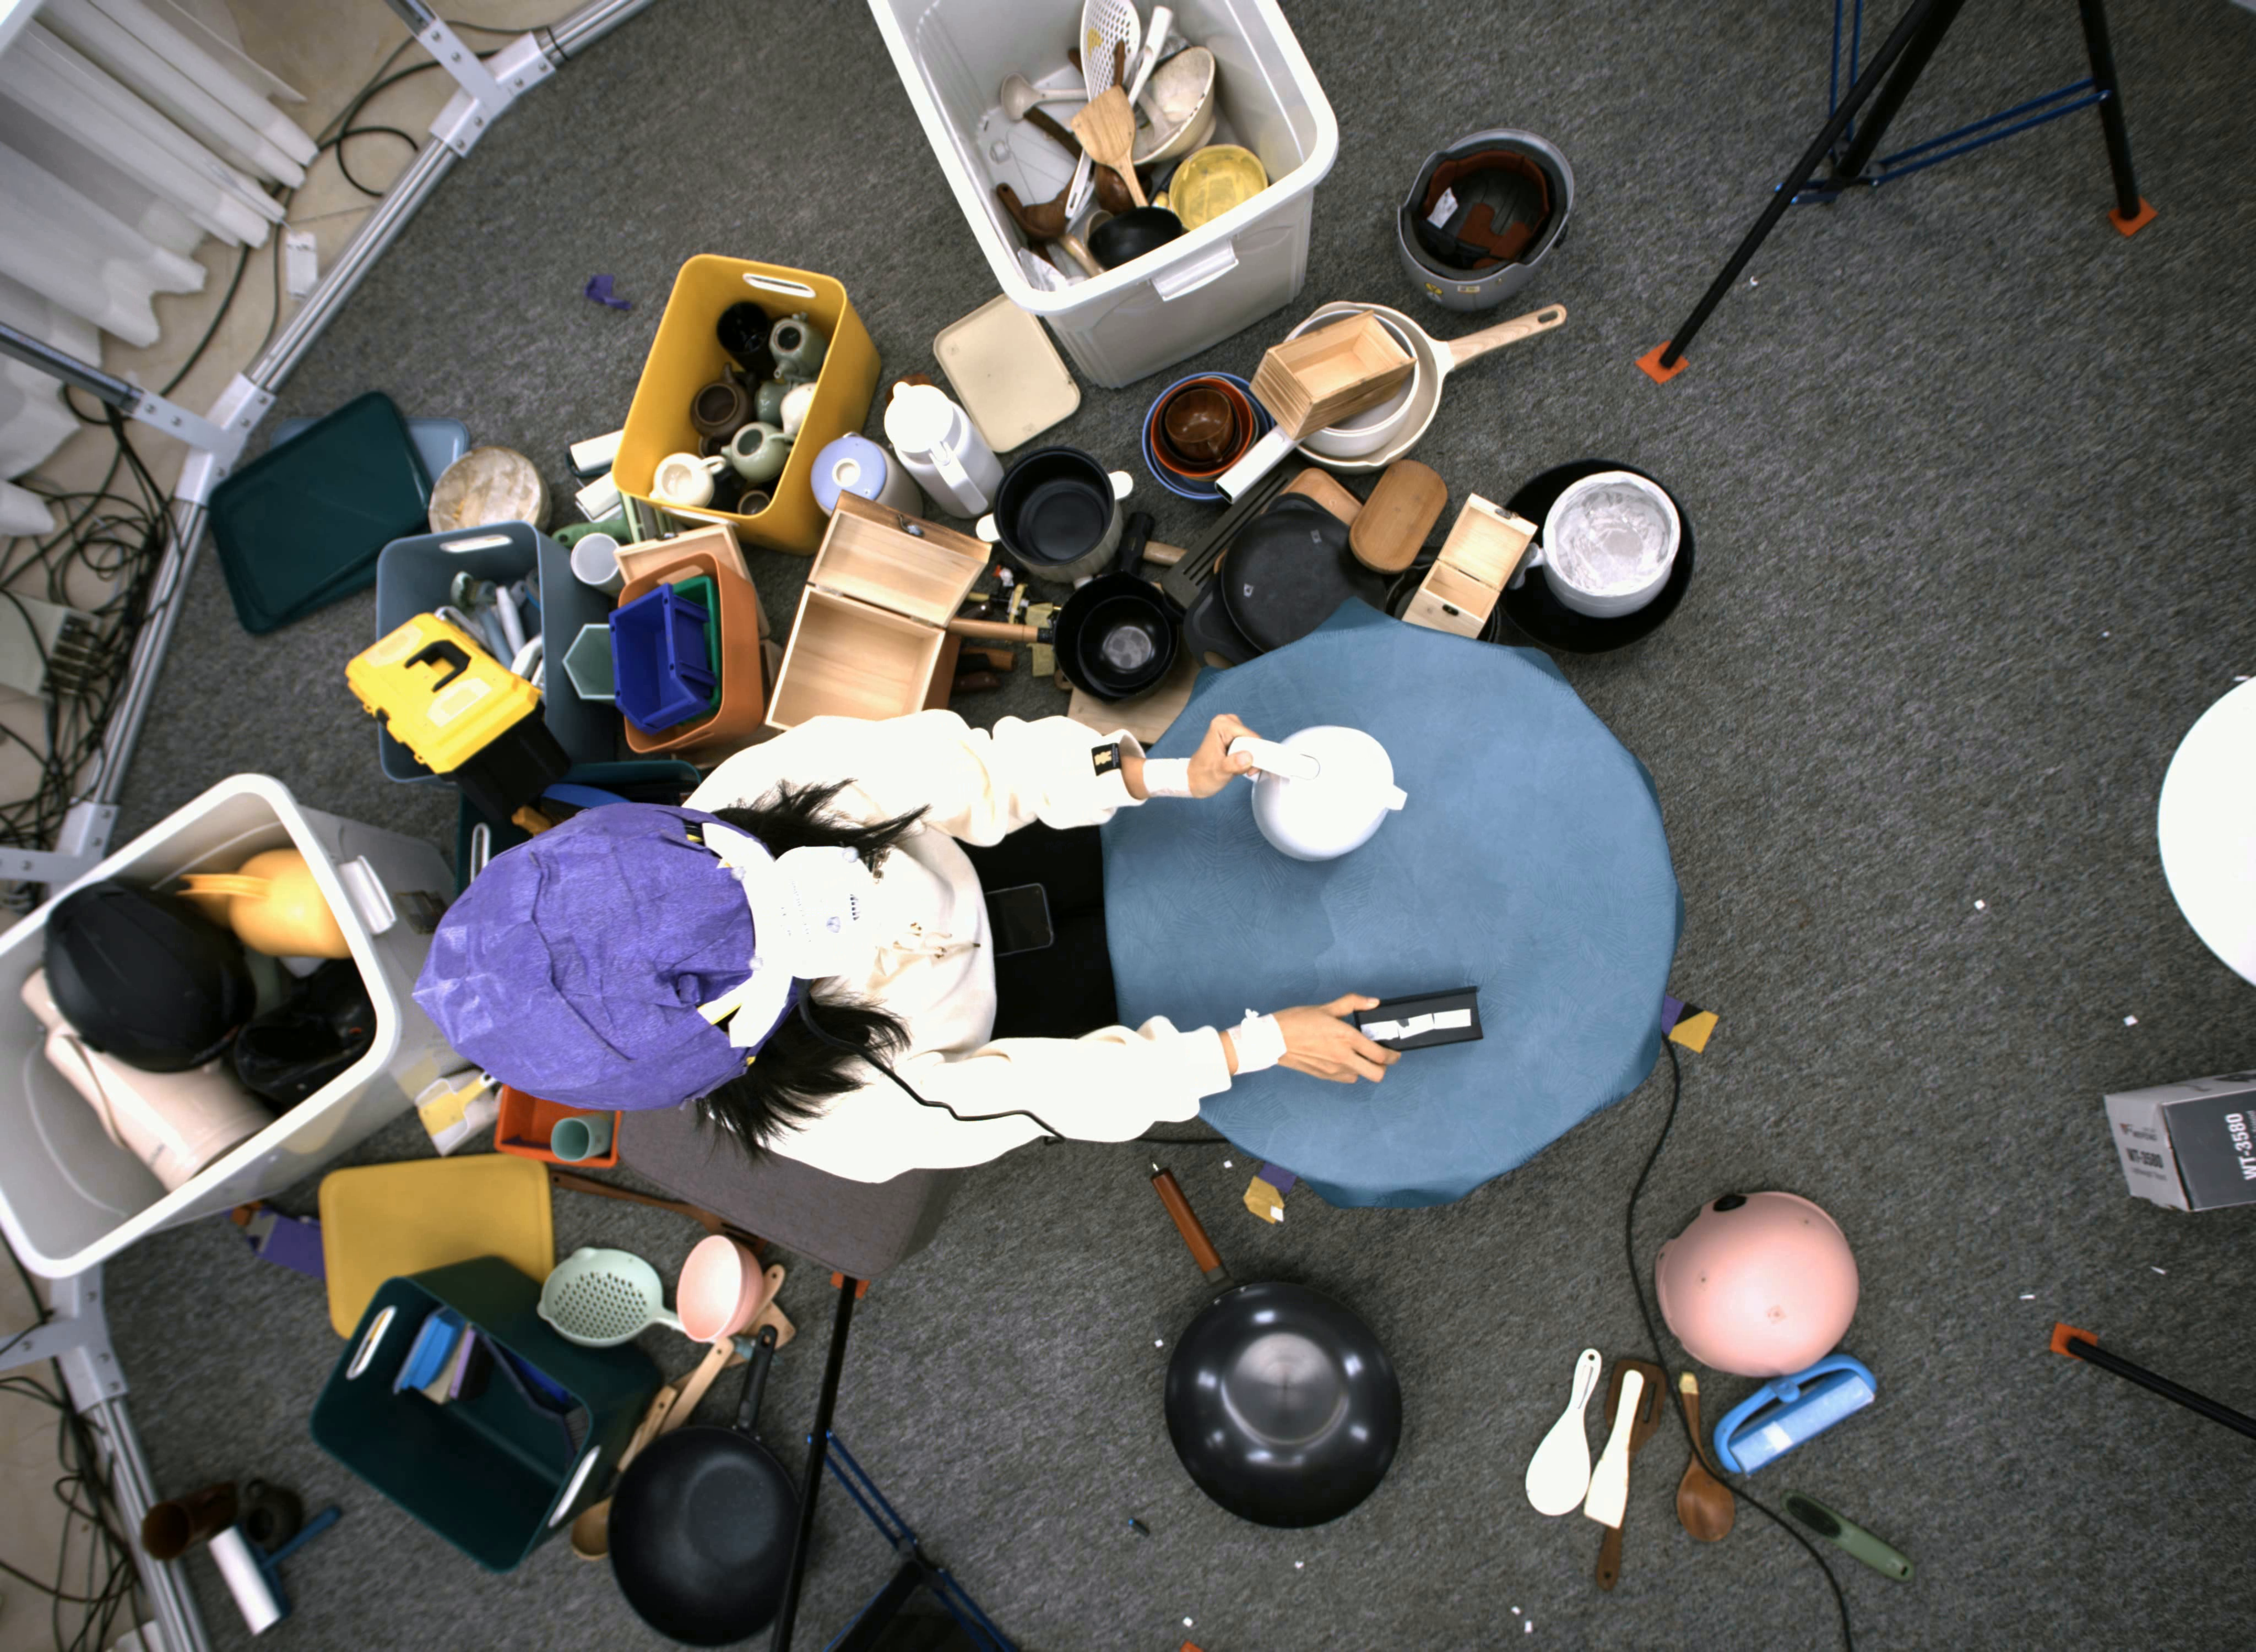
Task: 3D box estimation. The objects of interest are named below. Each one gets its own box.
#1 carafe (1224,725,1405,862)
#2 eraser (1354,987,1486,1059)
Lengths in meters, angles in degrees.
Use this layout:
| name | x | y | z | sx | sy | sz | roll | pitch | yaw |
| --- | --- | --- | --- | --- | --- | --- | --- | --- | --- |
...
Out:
| name | x | y | z | sx | sy | sz | roll | pitch | yaw |
| --- | --- | --- | --- | --- | --- | --- | --- | --- | --- |
| carafe | 0.173 | -0.042 | 1.340 | 0.168 | 0.249 | 0.132 | 19 | 88 | 3 |
| eraser | 0.294 | 0.196 | 1.398 | 0.126 | 0.030 | 0.053 | -11 | 91 | 6 |
